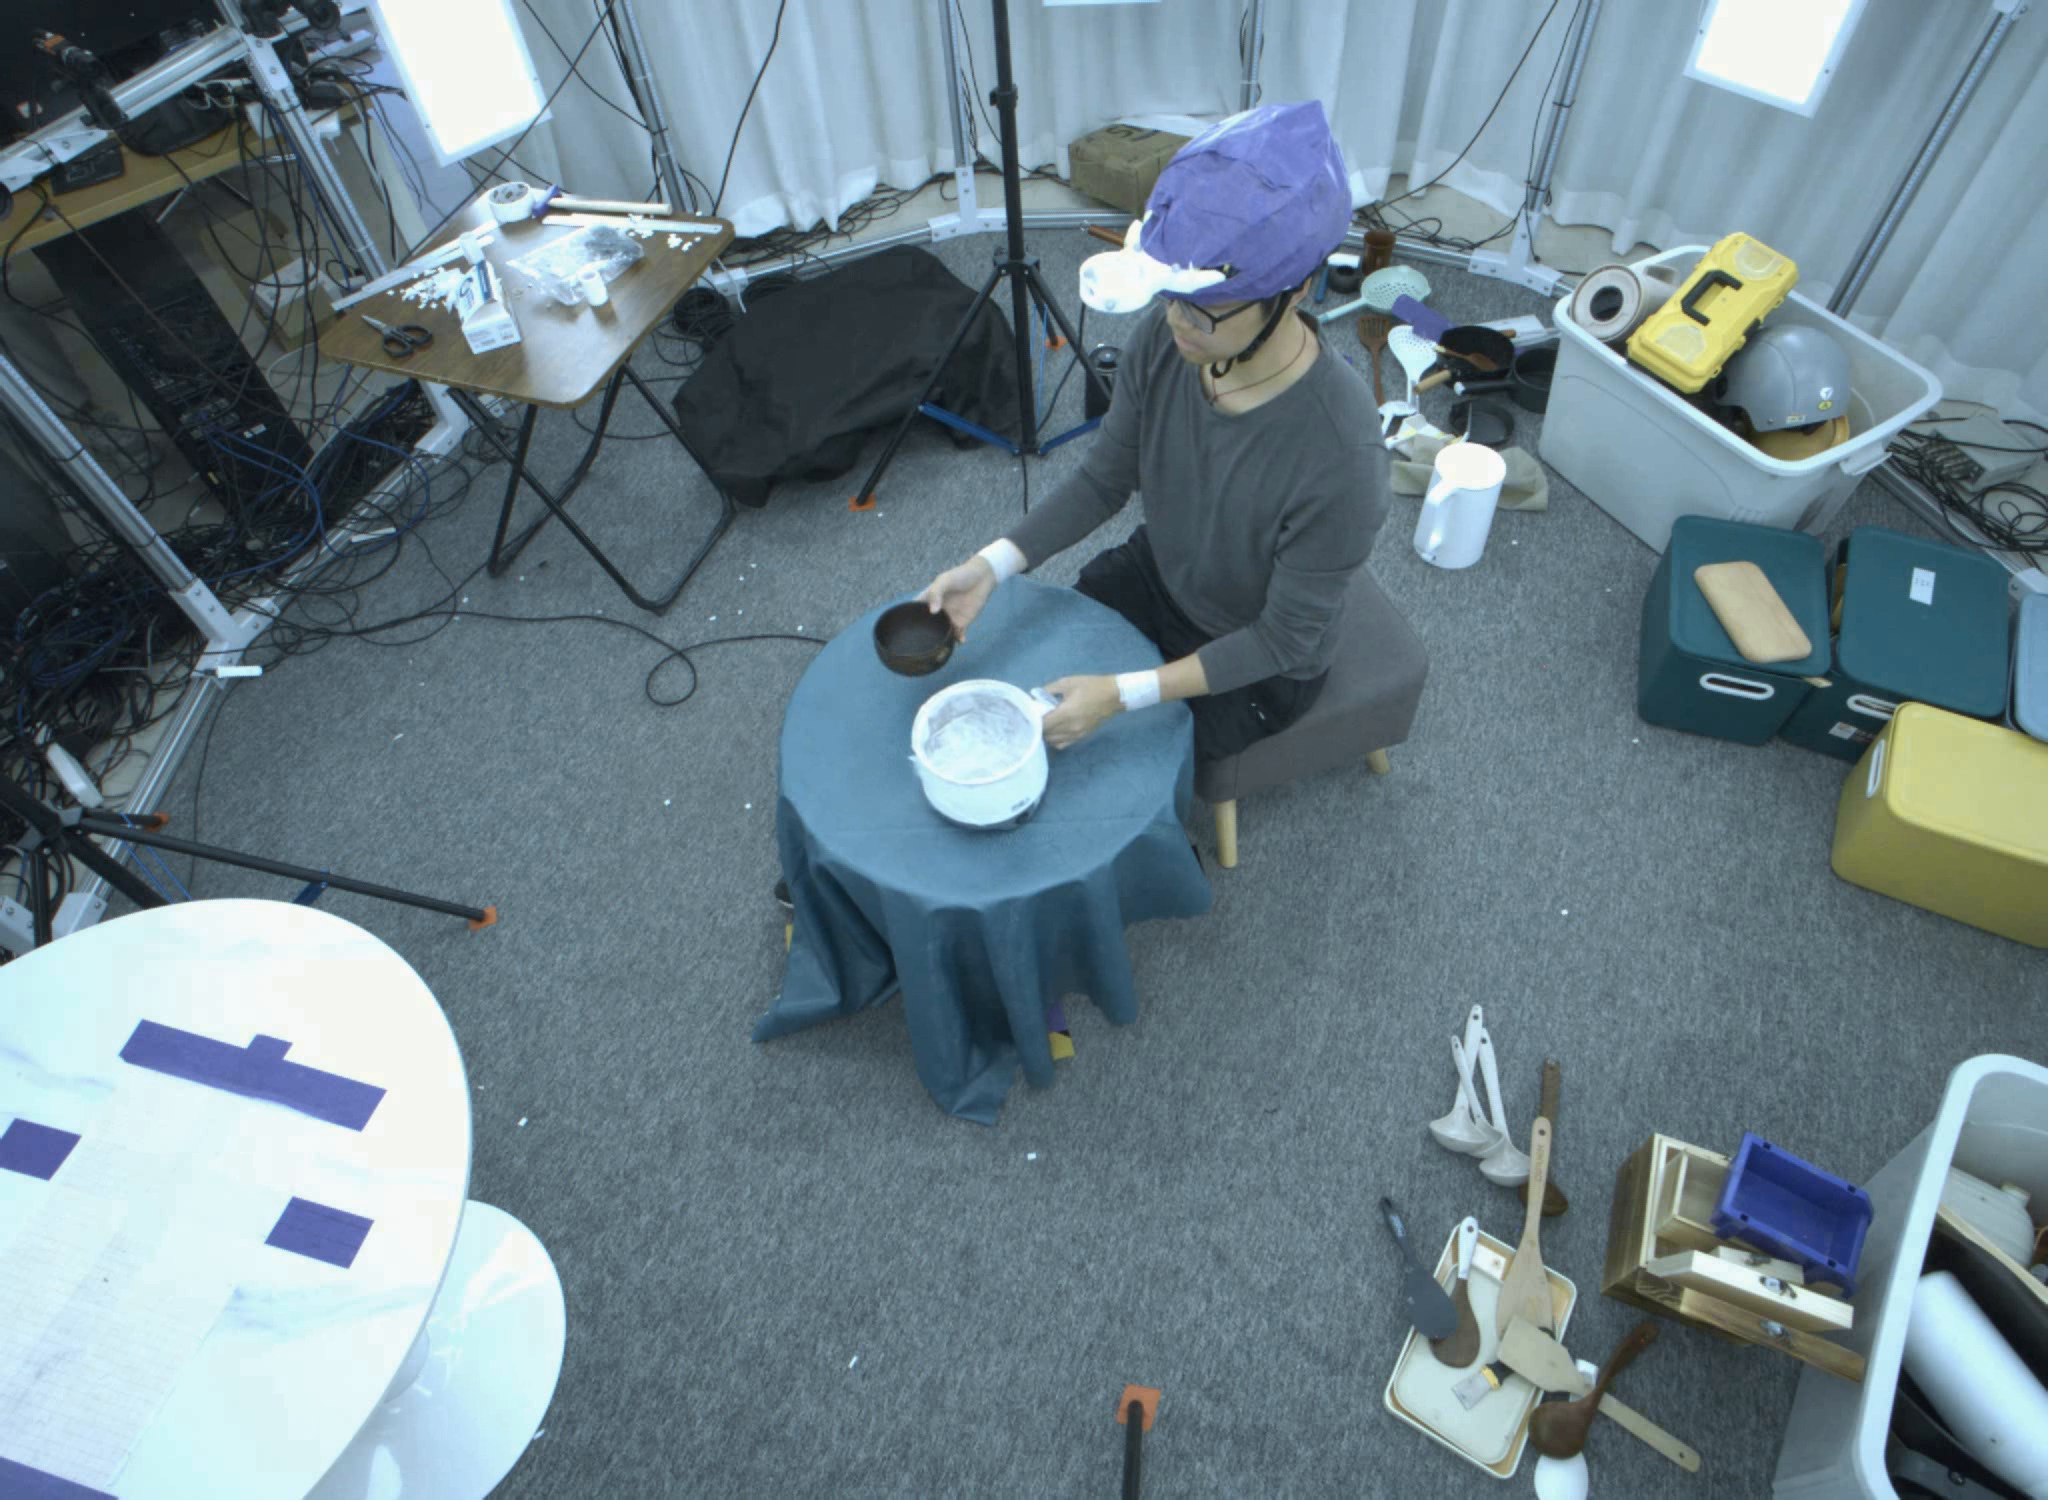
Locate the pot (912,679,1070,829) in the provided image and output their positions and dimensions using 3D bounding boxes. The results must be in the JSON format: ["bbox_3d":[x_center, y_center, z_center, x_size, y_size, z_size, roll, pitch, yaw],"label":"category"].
[{"bbox_3d":[-0.037,-0.004,1.713,0.235,0.138,0.175,-34,59,-20],"label":"pot"}]

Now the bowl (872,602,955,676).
[{"bbox_3d":[-0.158,-0.151,1.767,0.118,0.070,0.117,-1,47,2],"label":"bowl"}]
